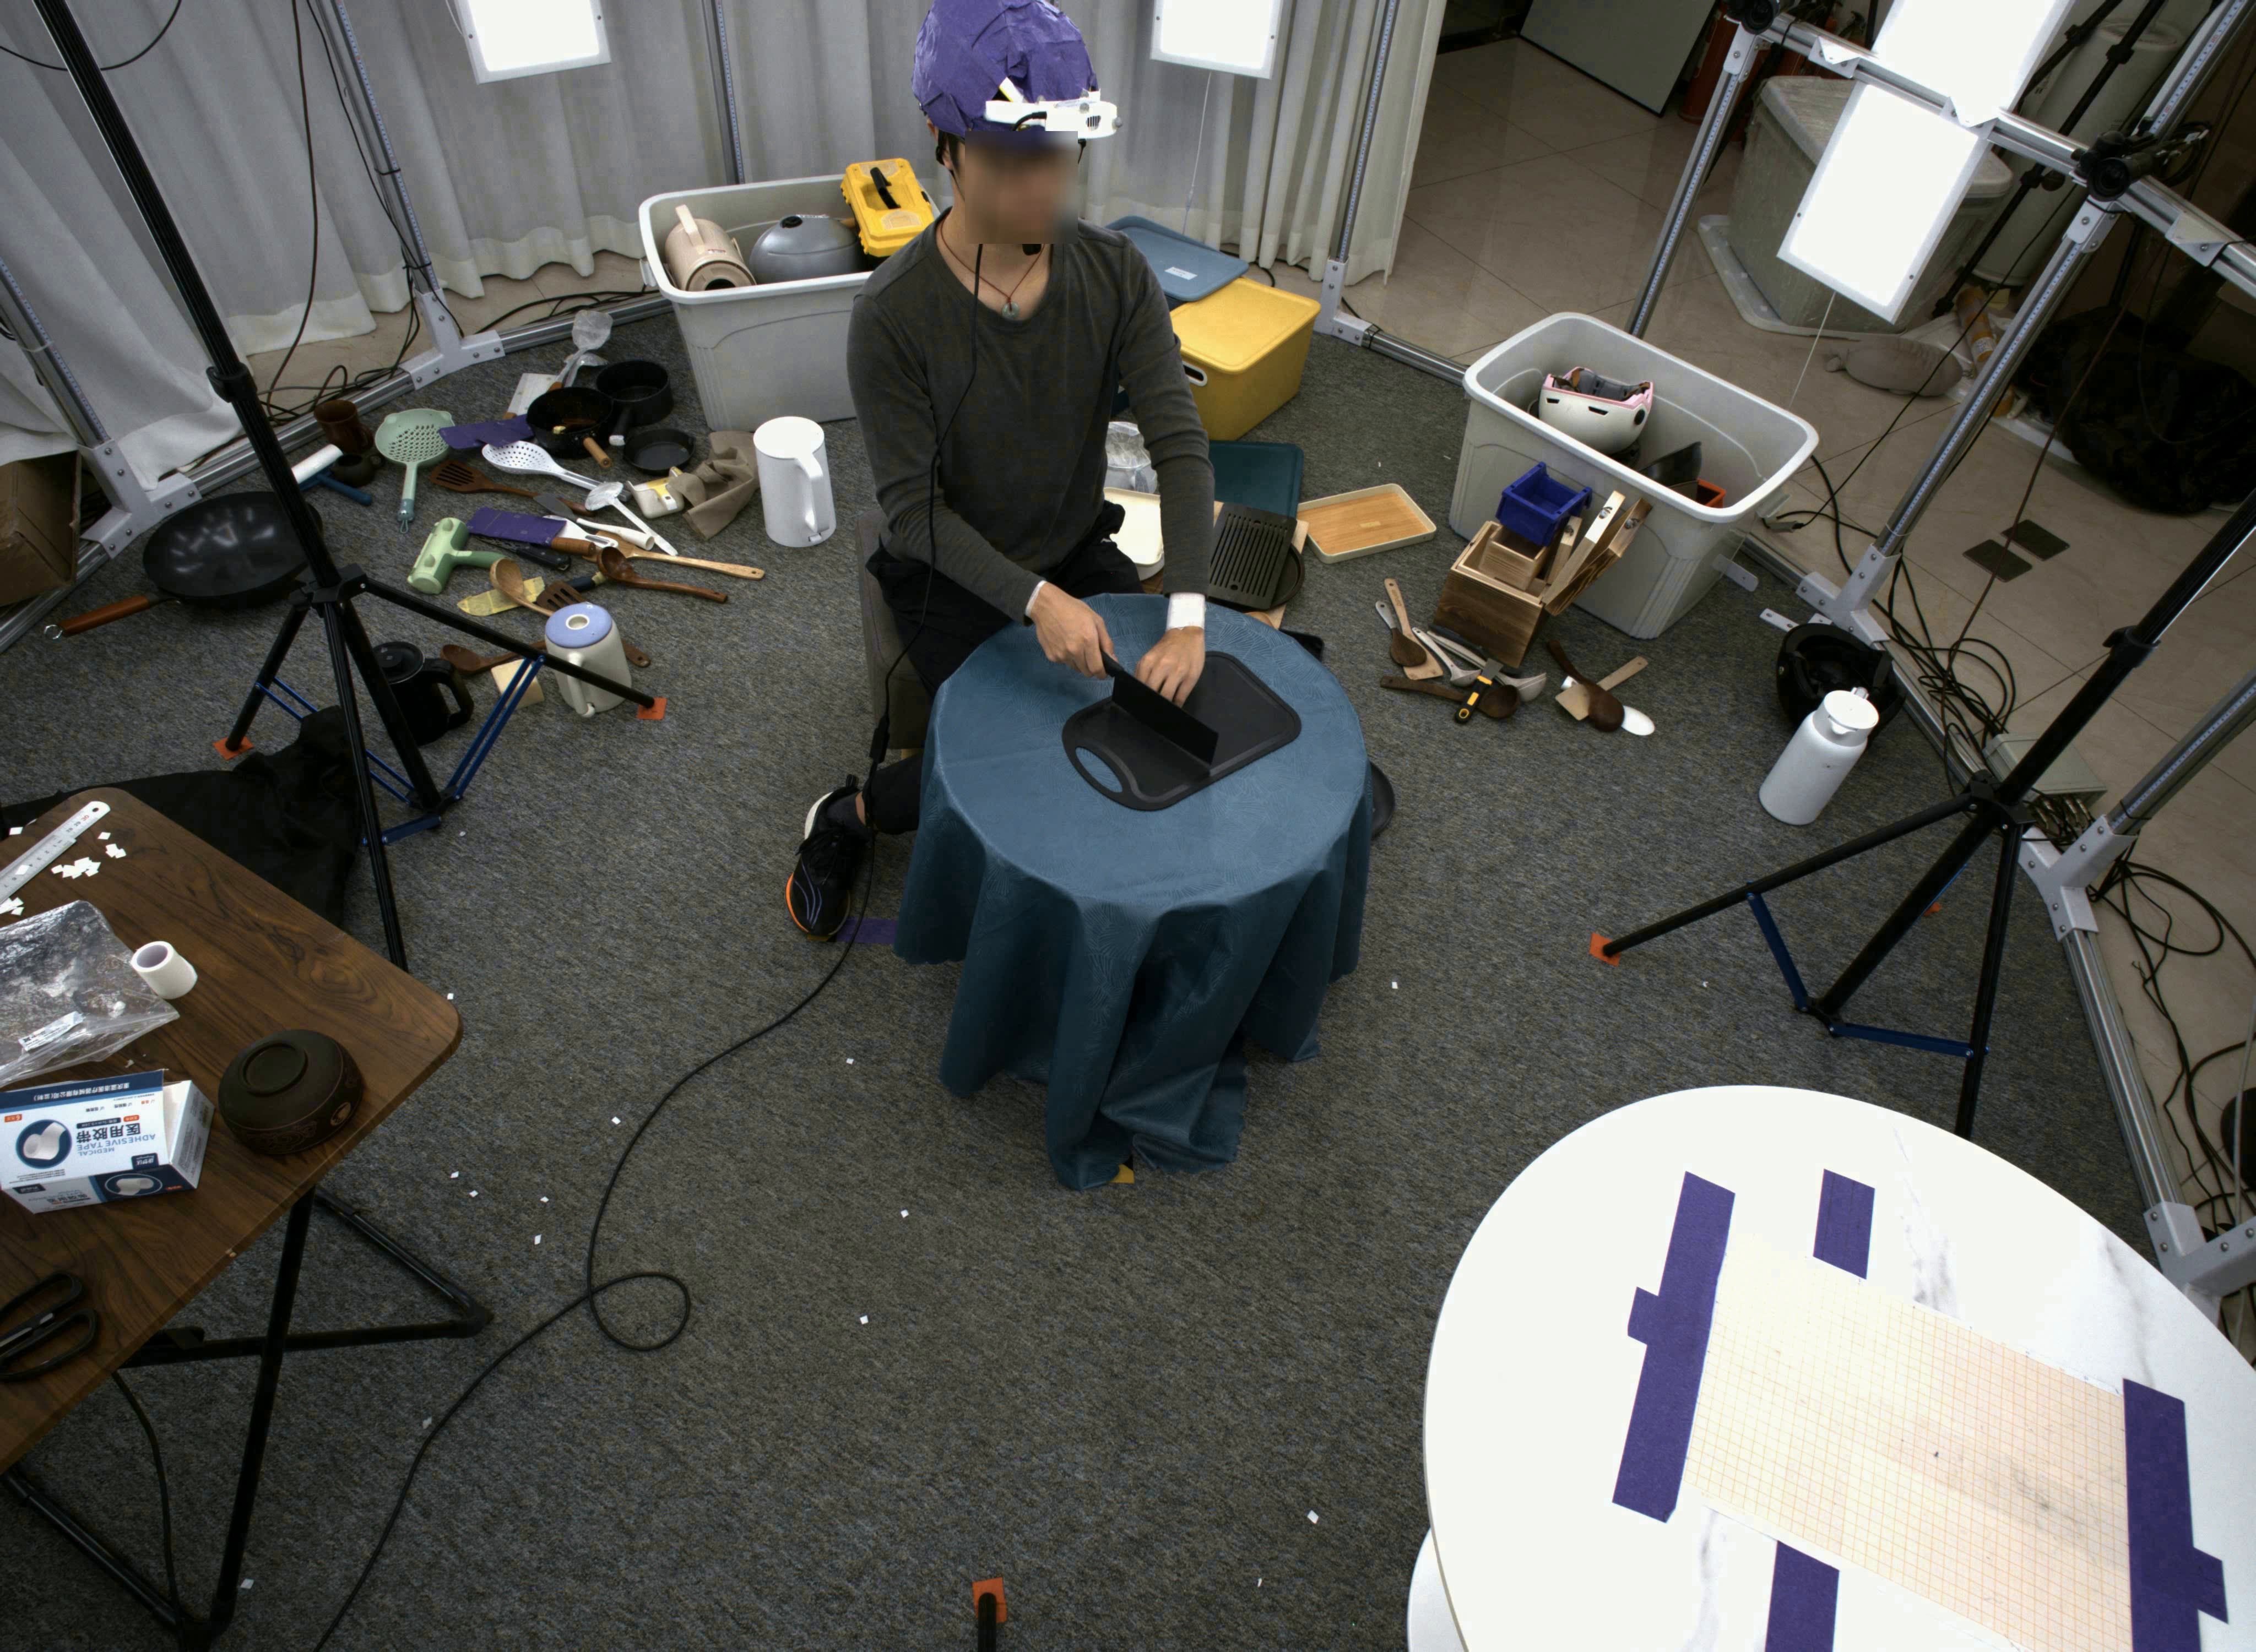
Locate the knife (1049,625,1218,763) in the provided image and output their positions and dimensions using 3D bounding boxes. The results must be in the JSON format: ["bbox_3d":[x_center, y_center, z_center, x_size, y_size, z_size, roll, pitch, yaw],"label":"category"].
[{"bbox_3d":[0.005,-0.187,1.771,0.306,0.079,0.021,39,52,21],"label":"knife"}]

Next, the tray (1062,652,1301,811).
[{"bbox_3d":[0.071,-0.136,1.786,0.327,0.009,0.215,-27,56,-24],"label":"tray"}]
